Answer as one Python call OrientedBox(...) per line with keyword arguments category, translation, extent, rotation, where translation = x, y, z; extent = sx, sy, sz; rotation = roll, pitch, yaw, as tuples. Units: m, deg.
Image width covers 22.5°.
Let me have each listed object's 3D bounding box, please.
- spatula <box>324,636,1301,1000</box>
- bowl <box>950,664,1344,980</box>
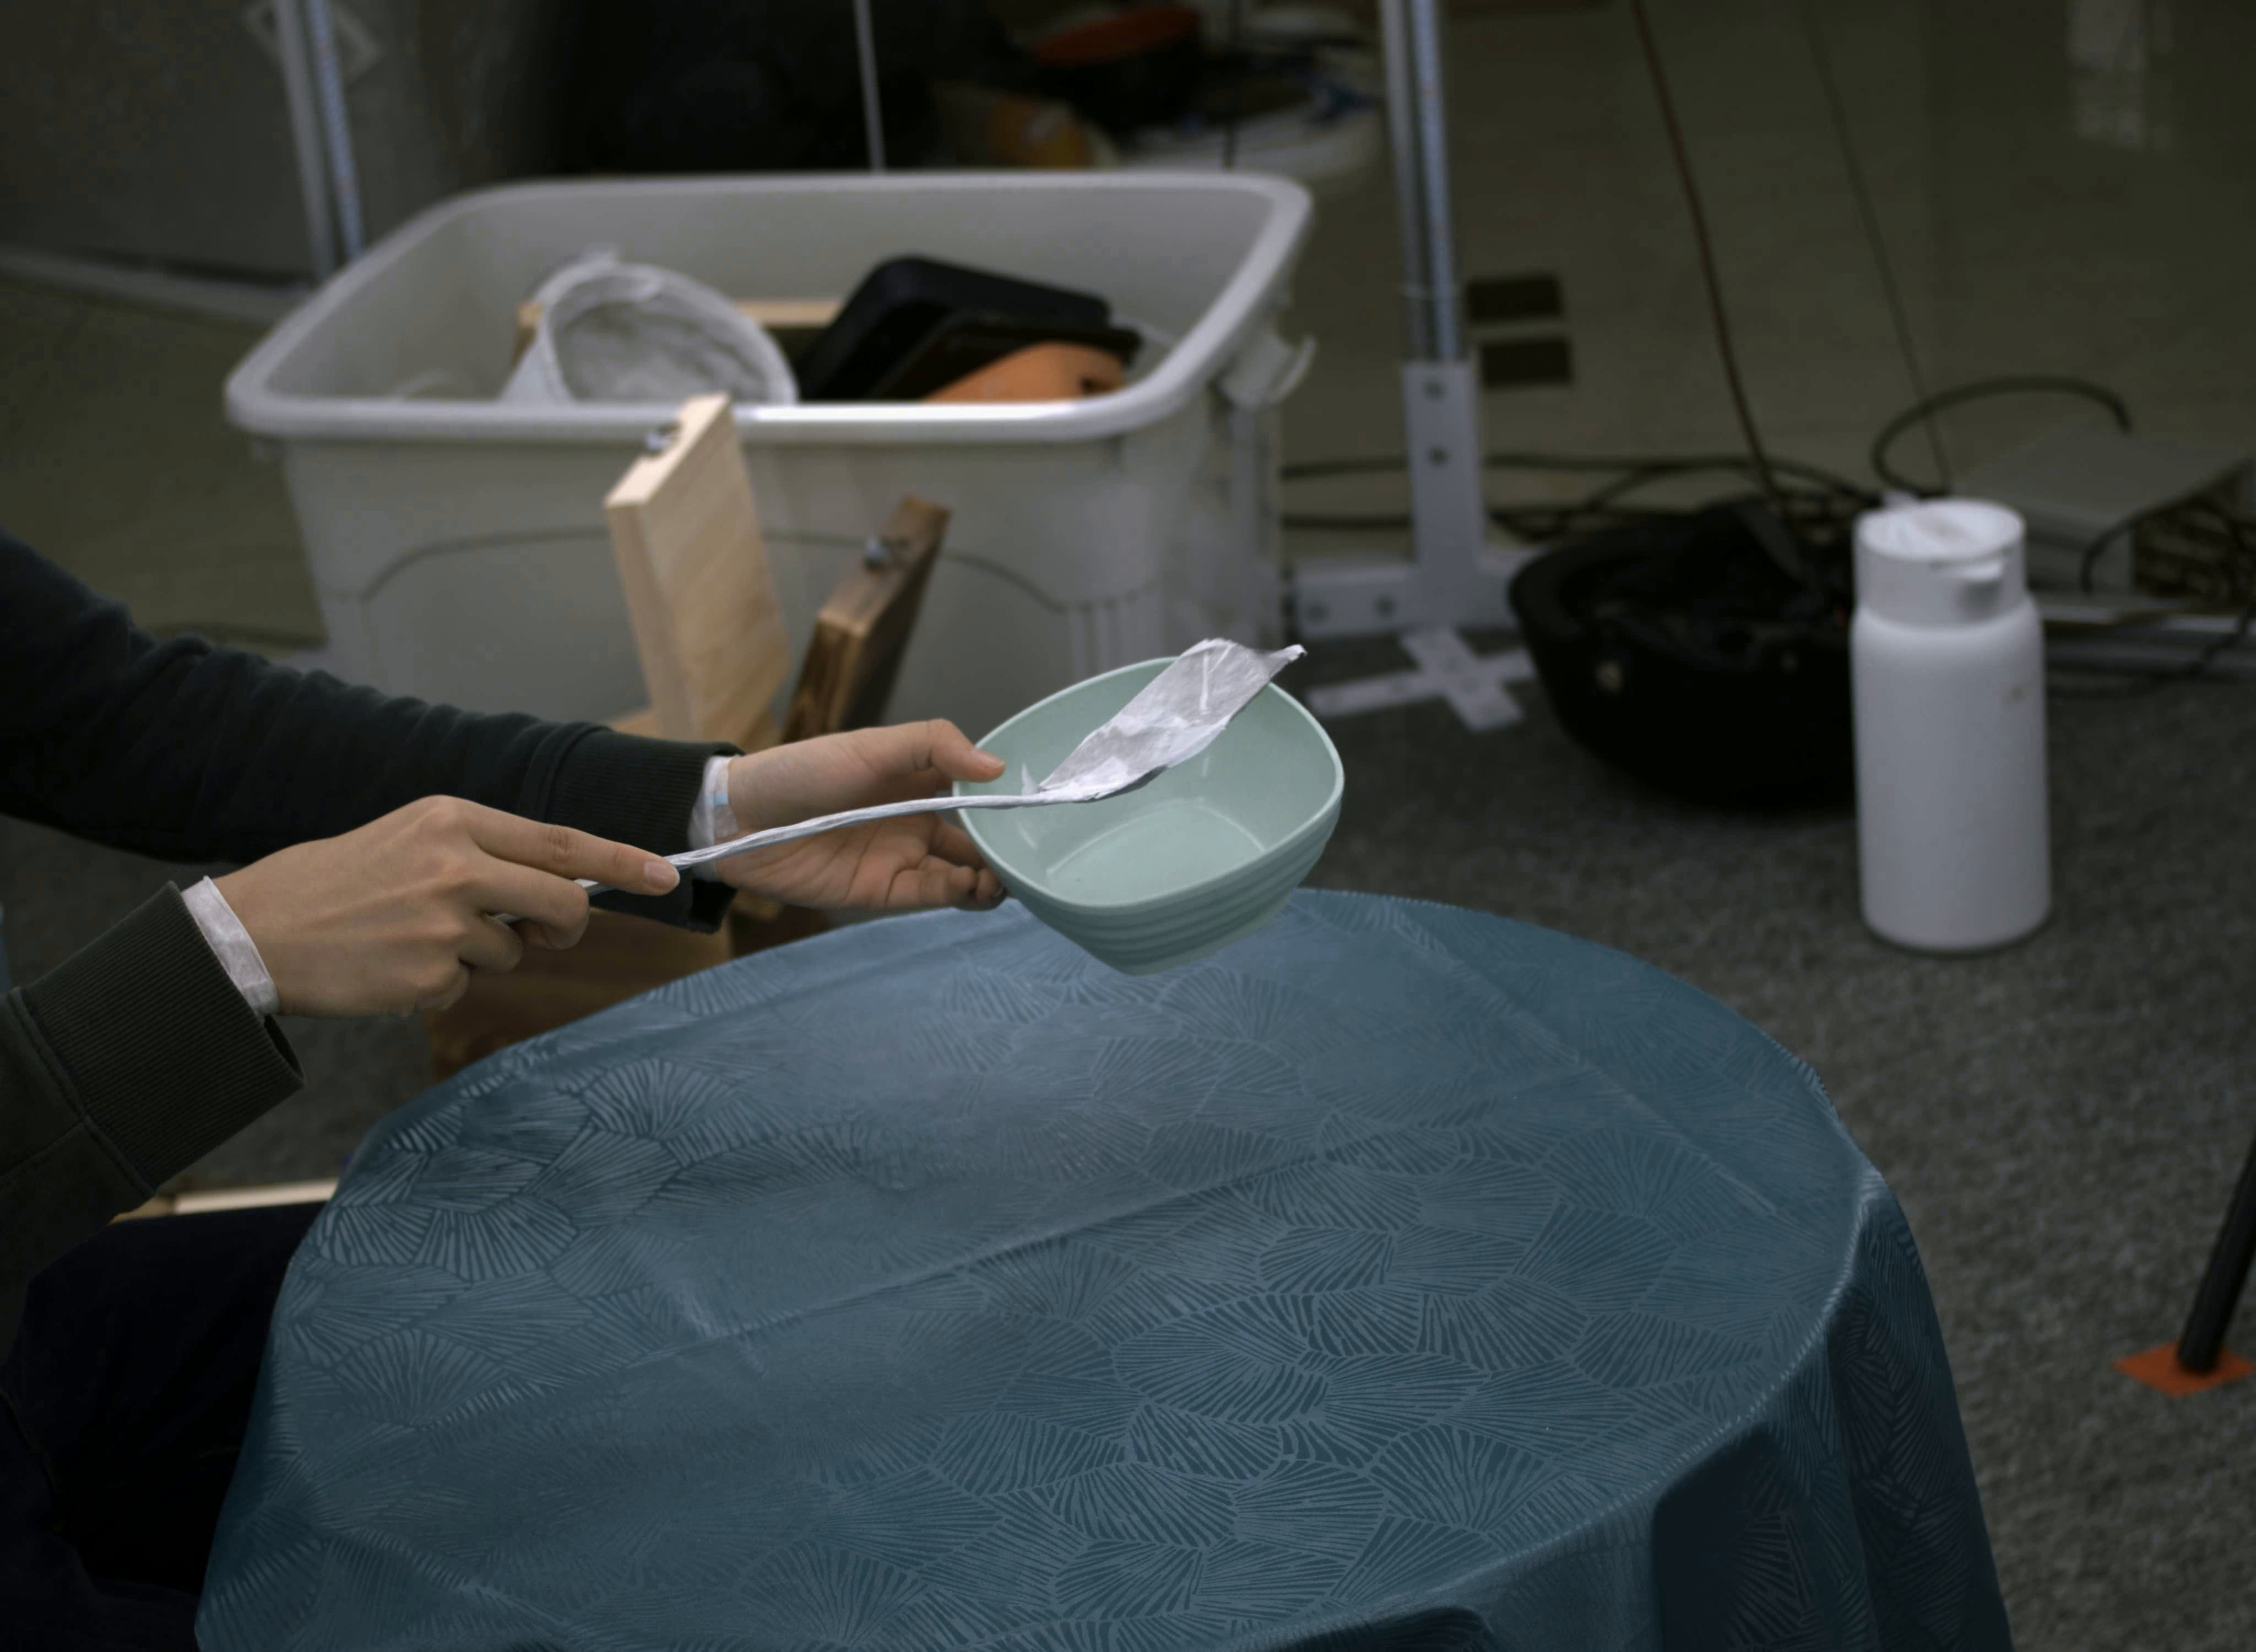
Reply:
OrientedBox(category="spatula", translation=(-0.108, -0.004, 1.969), extent=(0.363, 0.045, 0.098), rotation=(-14, 10, -20))
OrientedBox(category="bowl", translation=(0.009, 0.006, 2.146), extent=(0.151, 0.060, 0.148), rotation=(-3, 39, 3))
